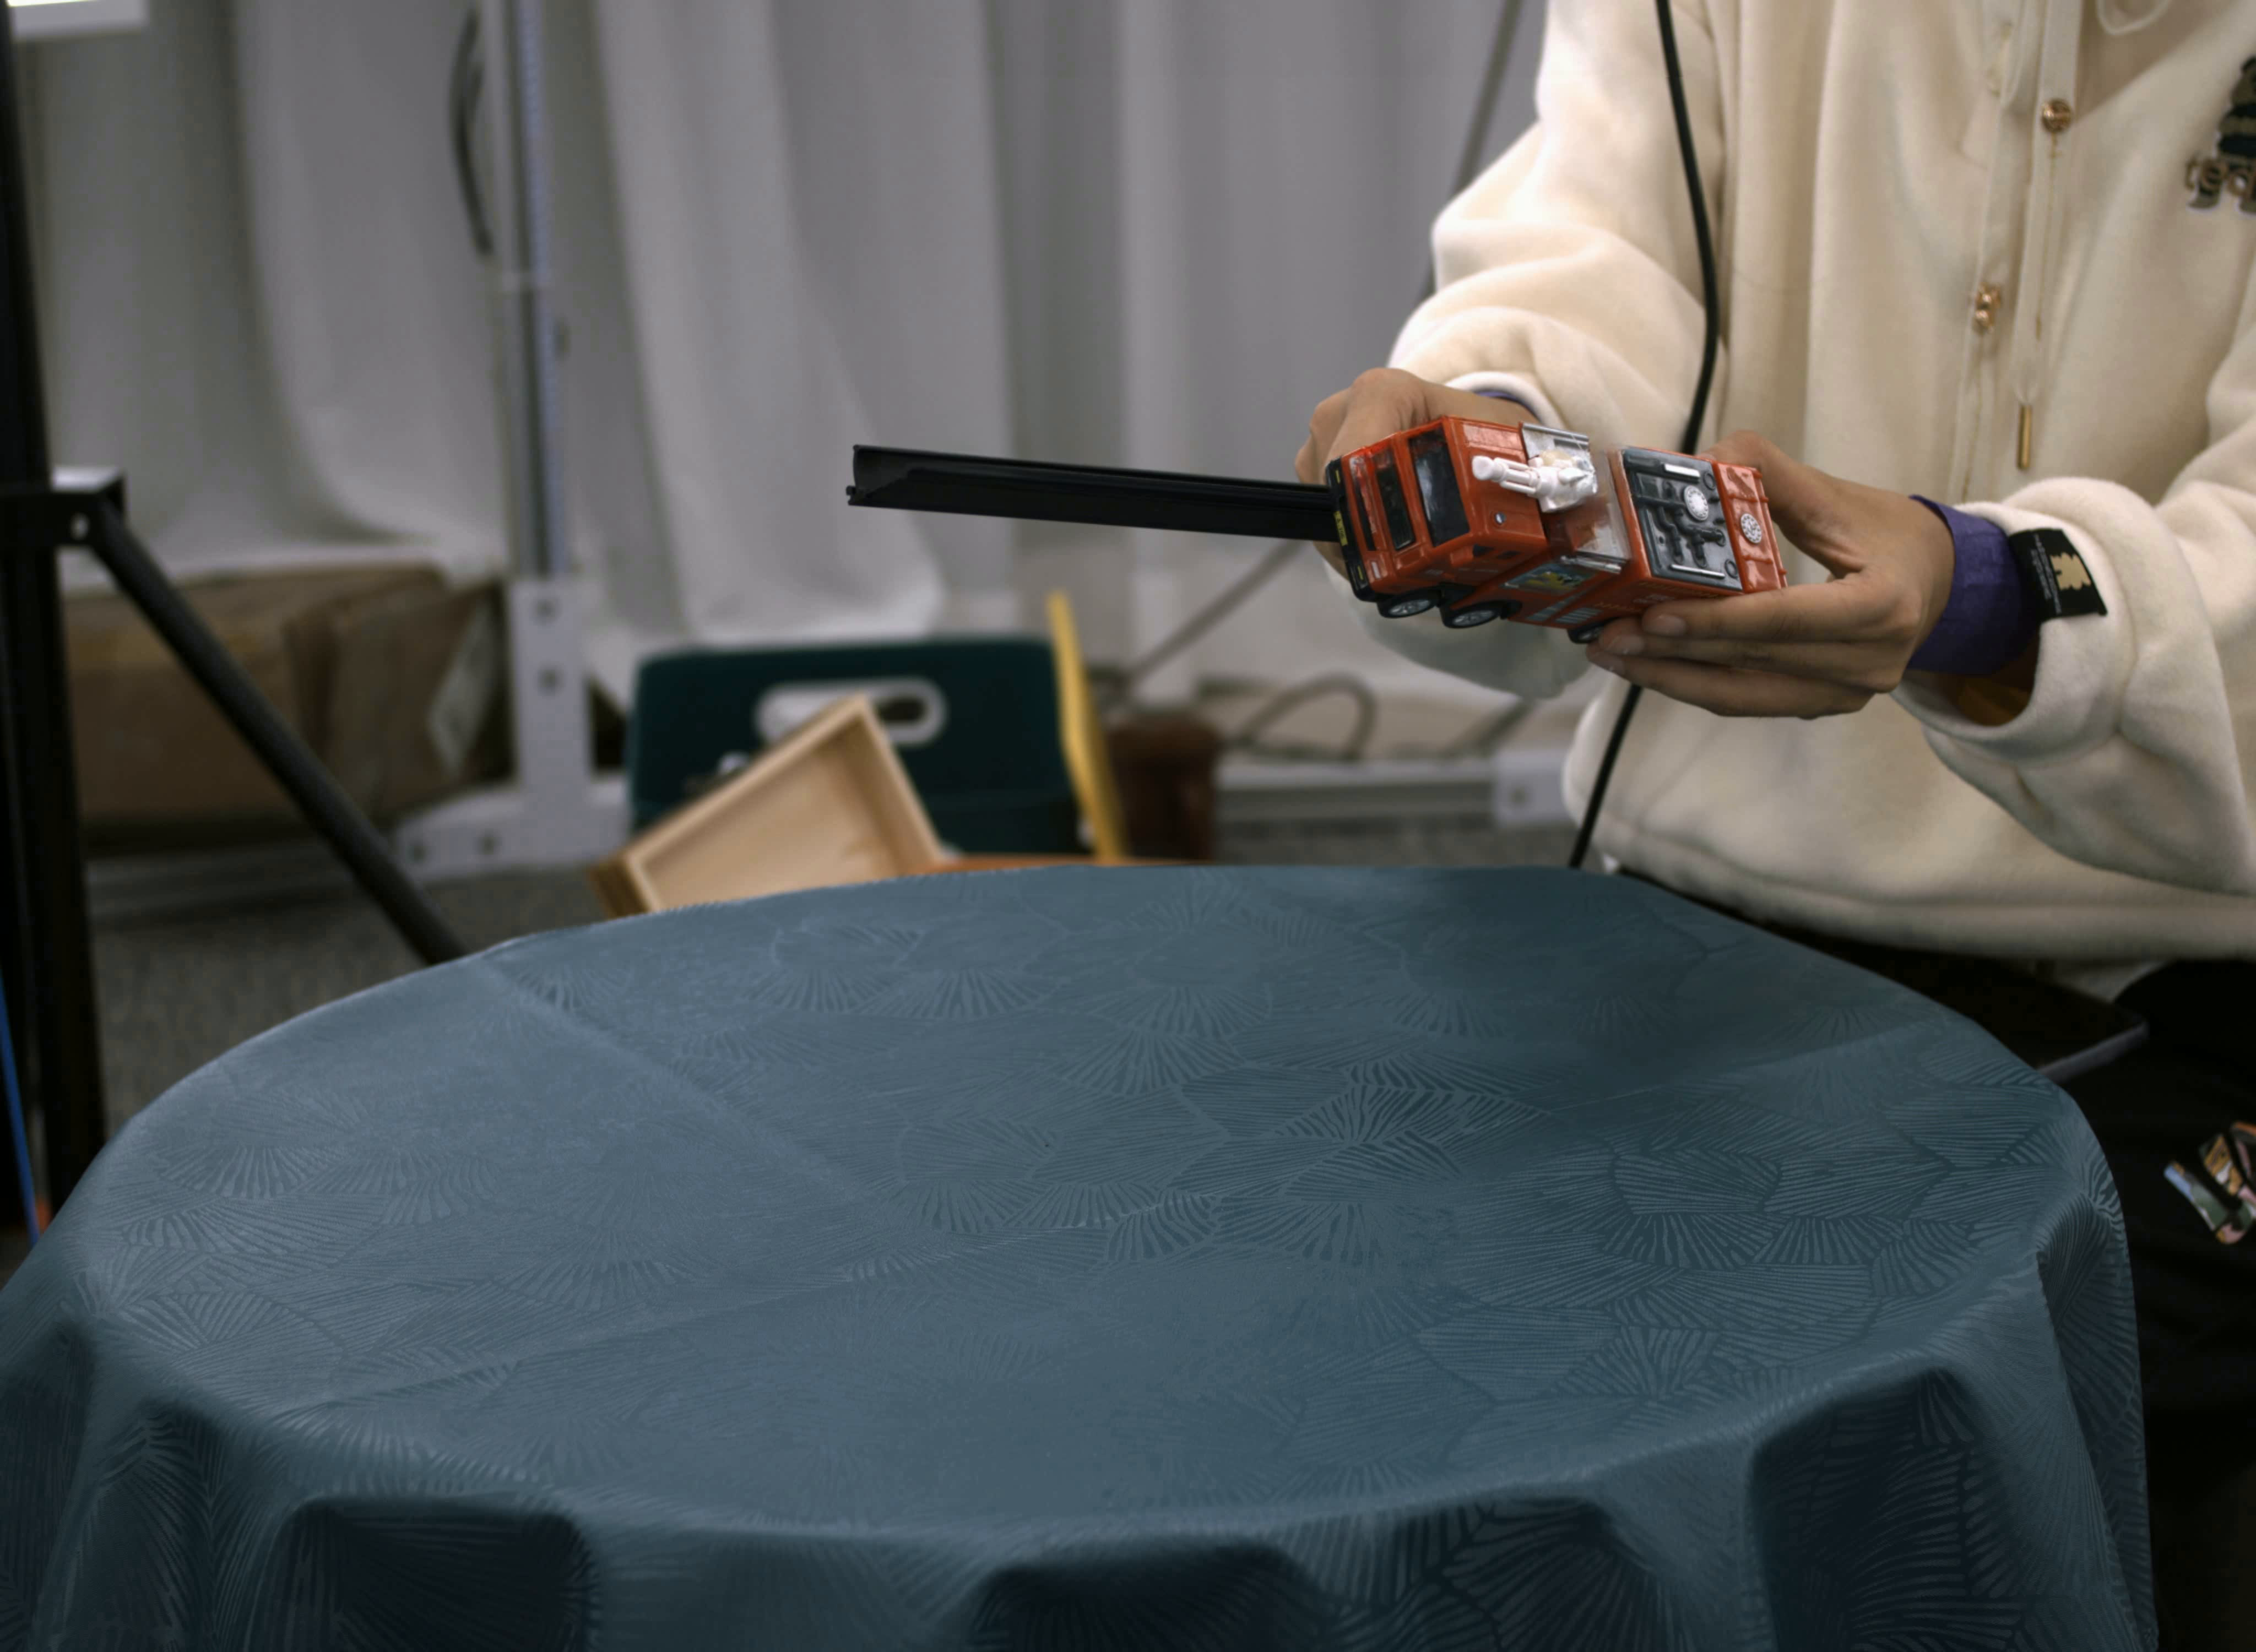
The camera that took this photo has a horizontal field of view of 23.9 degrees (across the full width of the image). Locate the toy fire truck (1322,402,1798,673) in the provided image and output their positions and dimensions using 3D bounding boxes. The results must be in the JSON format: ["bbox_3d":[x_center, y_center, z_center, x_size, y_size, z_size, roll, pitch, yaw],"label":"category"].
[{"bbox_3d":[0.128,-0.084,1.560,0.071,0.054,0.163,-26,-22,37],"label":"toy fire truck"}]

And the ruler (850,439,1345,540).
[{"bbox_3d":[0.044,-0.098,1.554,0.304,0.017,0.040,2,-14,-43],"label":"ruler"}]
